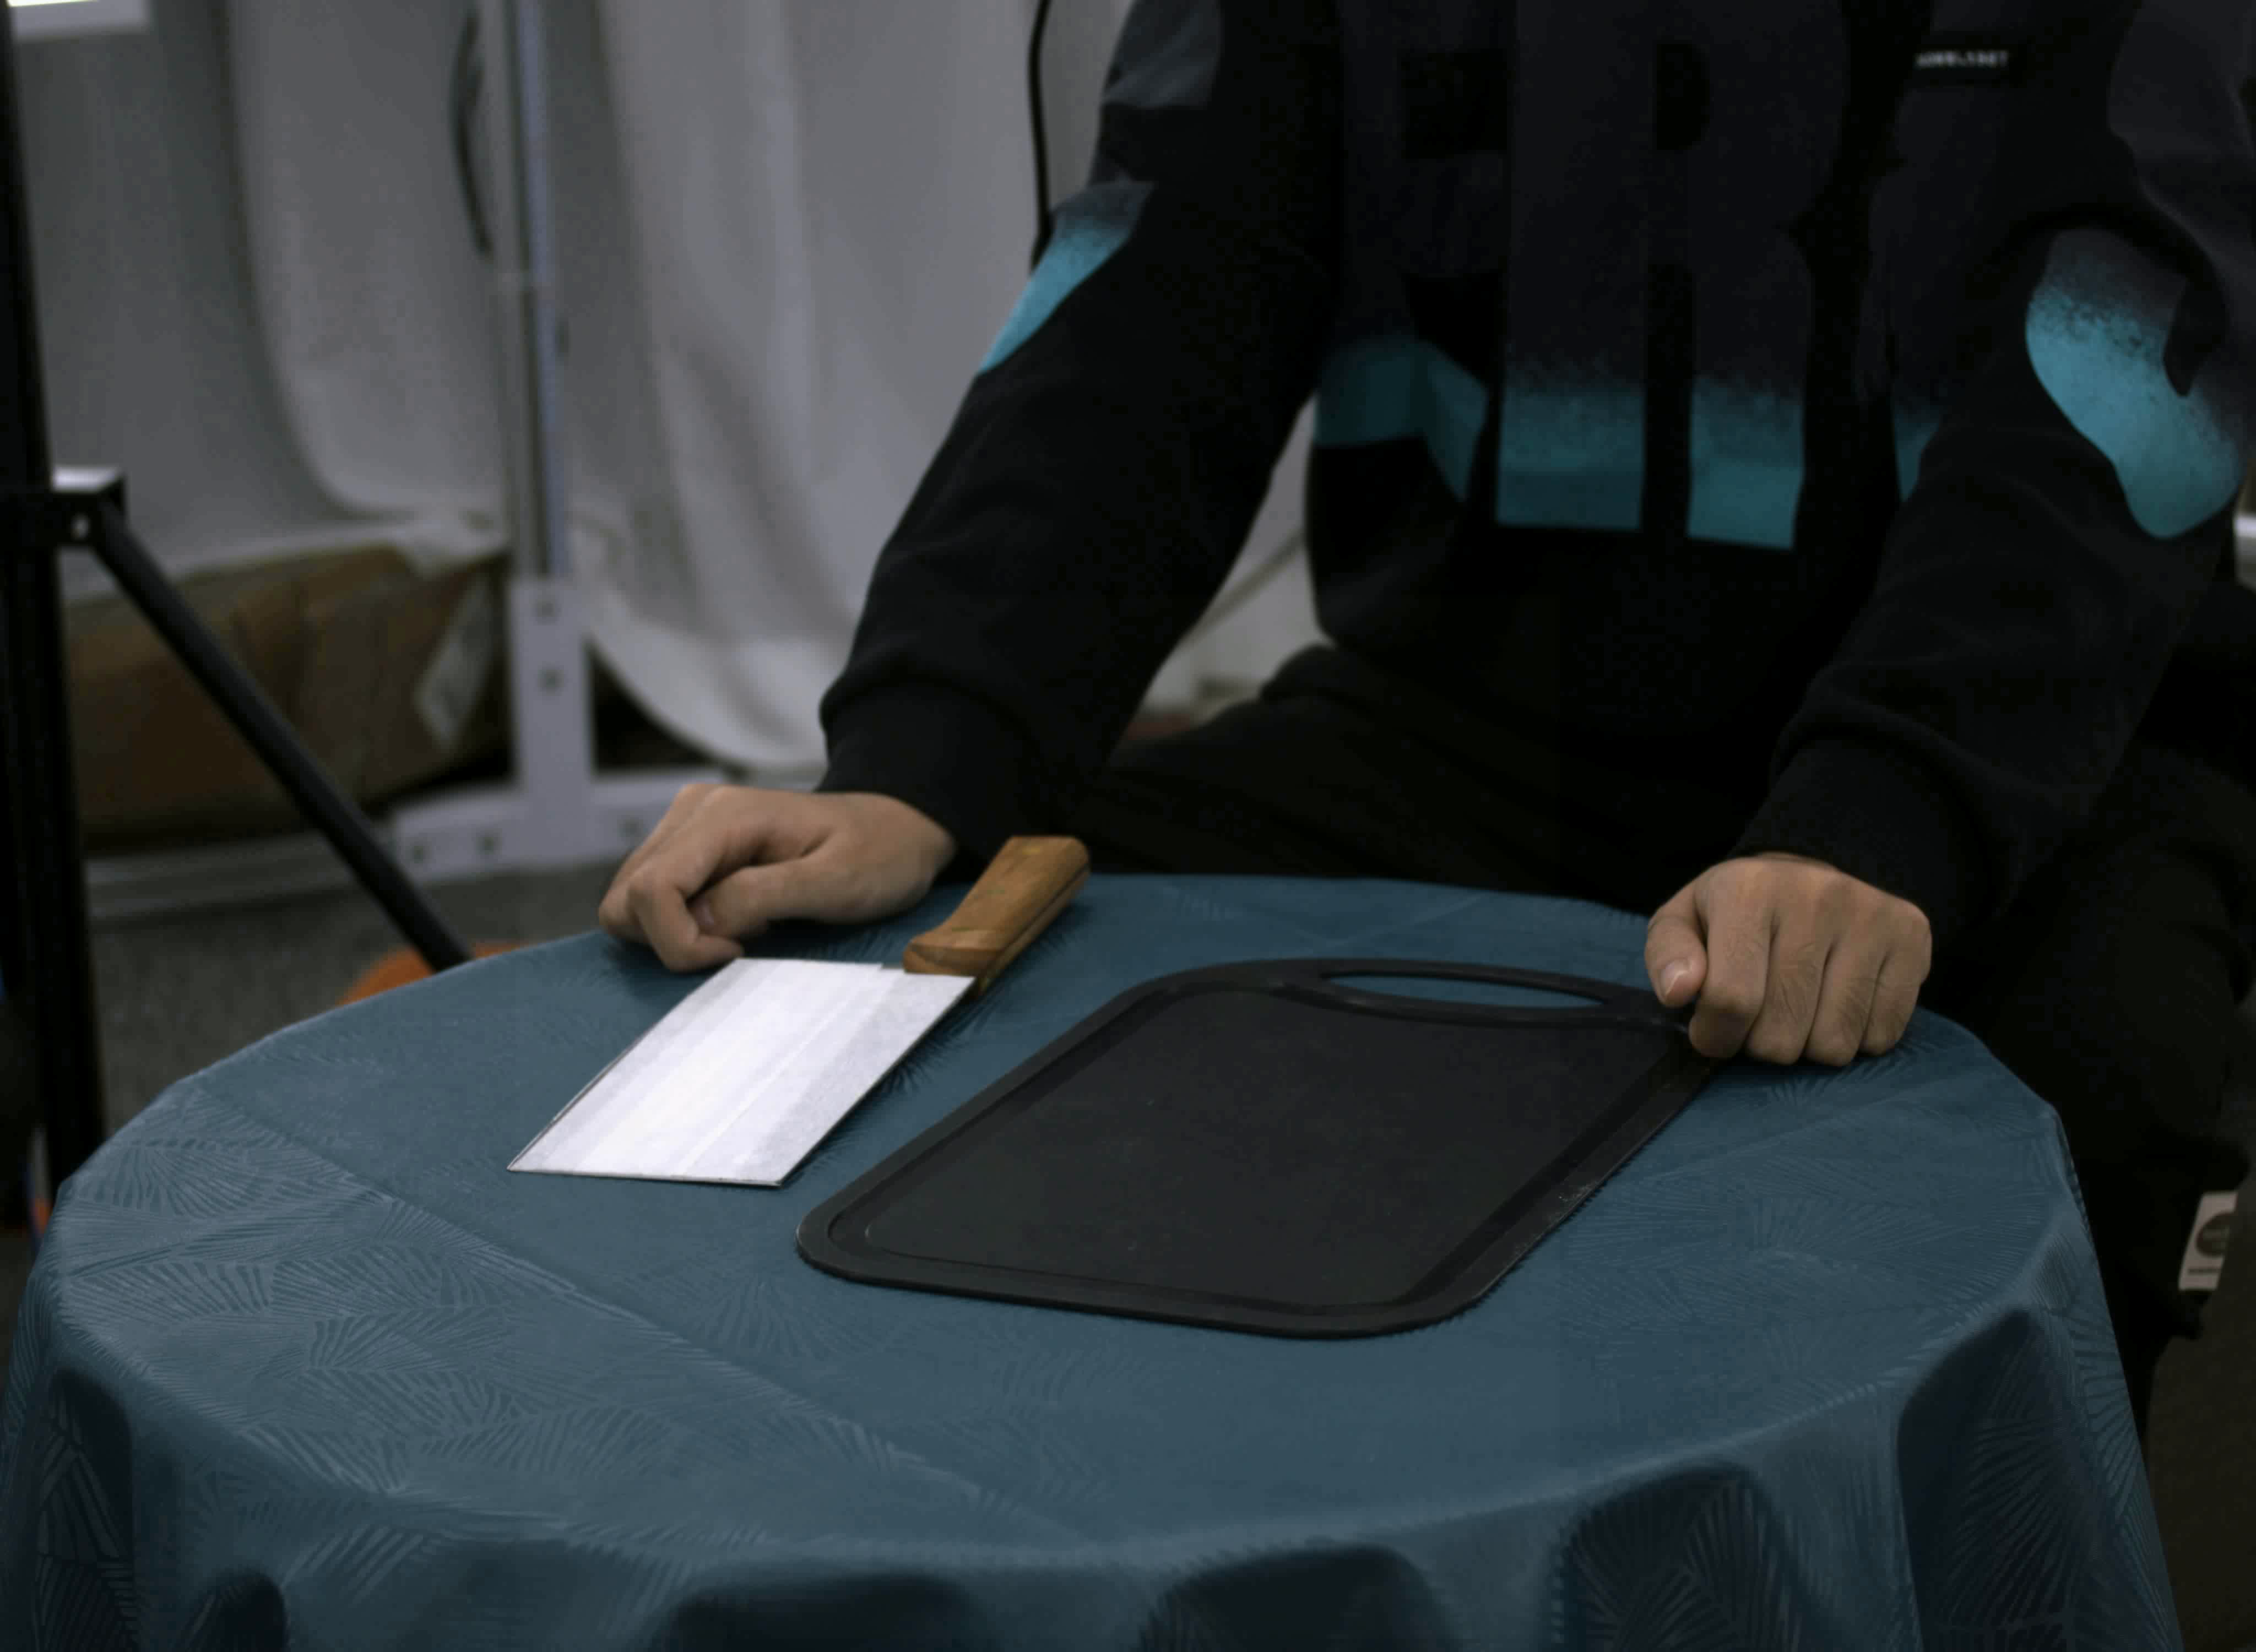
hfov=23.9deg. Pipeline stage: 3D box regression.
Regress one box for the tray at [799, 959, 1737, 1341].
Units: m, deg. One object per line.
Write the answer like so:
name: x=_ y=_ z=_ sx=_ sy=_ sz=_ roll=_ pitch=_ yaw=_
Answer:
tray: x=0.051 y=0.089 z=1.604 sx=0.214 sy=0.010 sz=0.320 roll=5 pitch=18 yaw=26

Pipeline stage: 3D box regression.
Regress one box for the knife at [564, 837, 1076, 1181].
knife: x=-0.098 y=0.058 z=1.724 sx=0.094 sy=0.021 sz=0.303 roll=1 pitch=18 yaw=18
